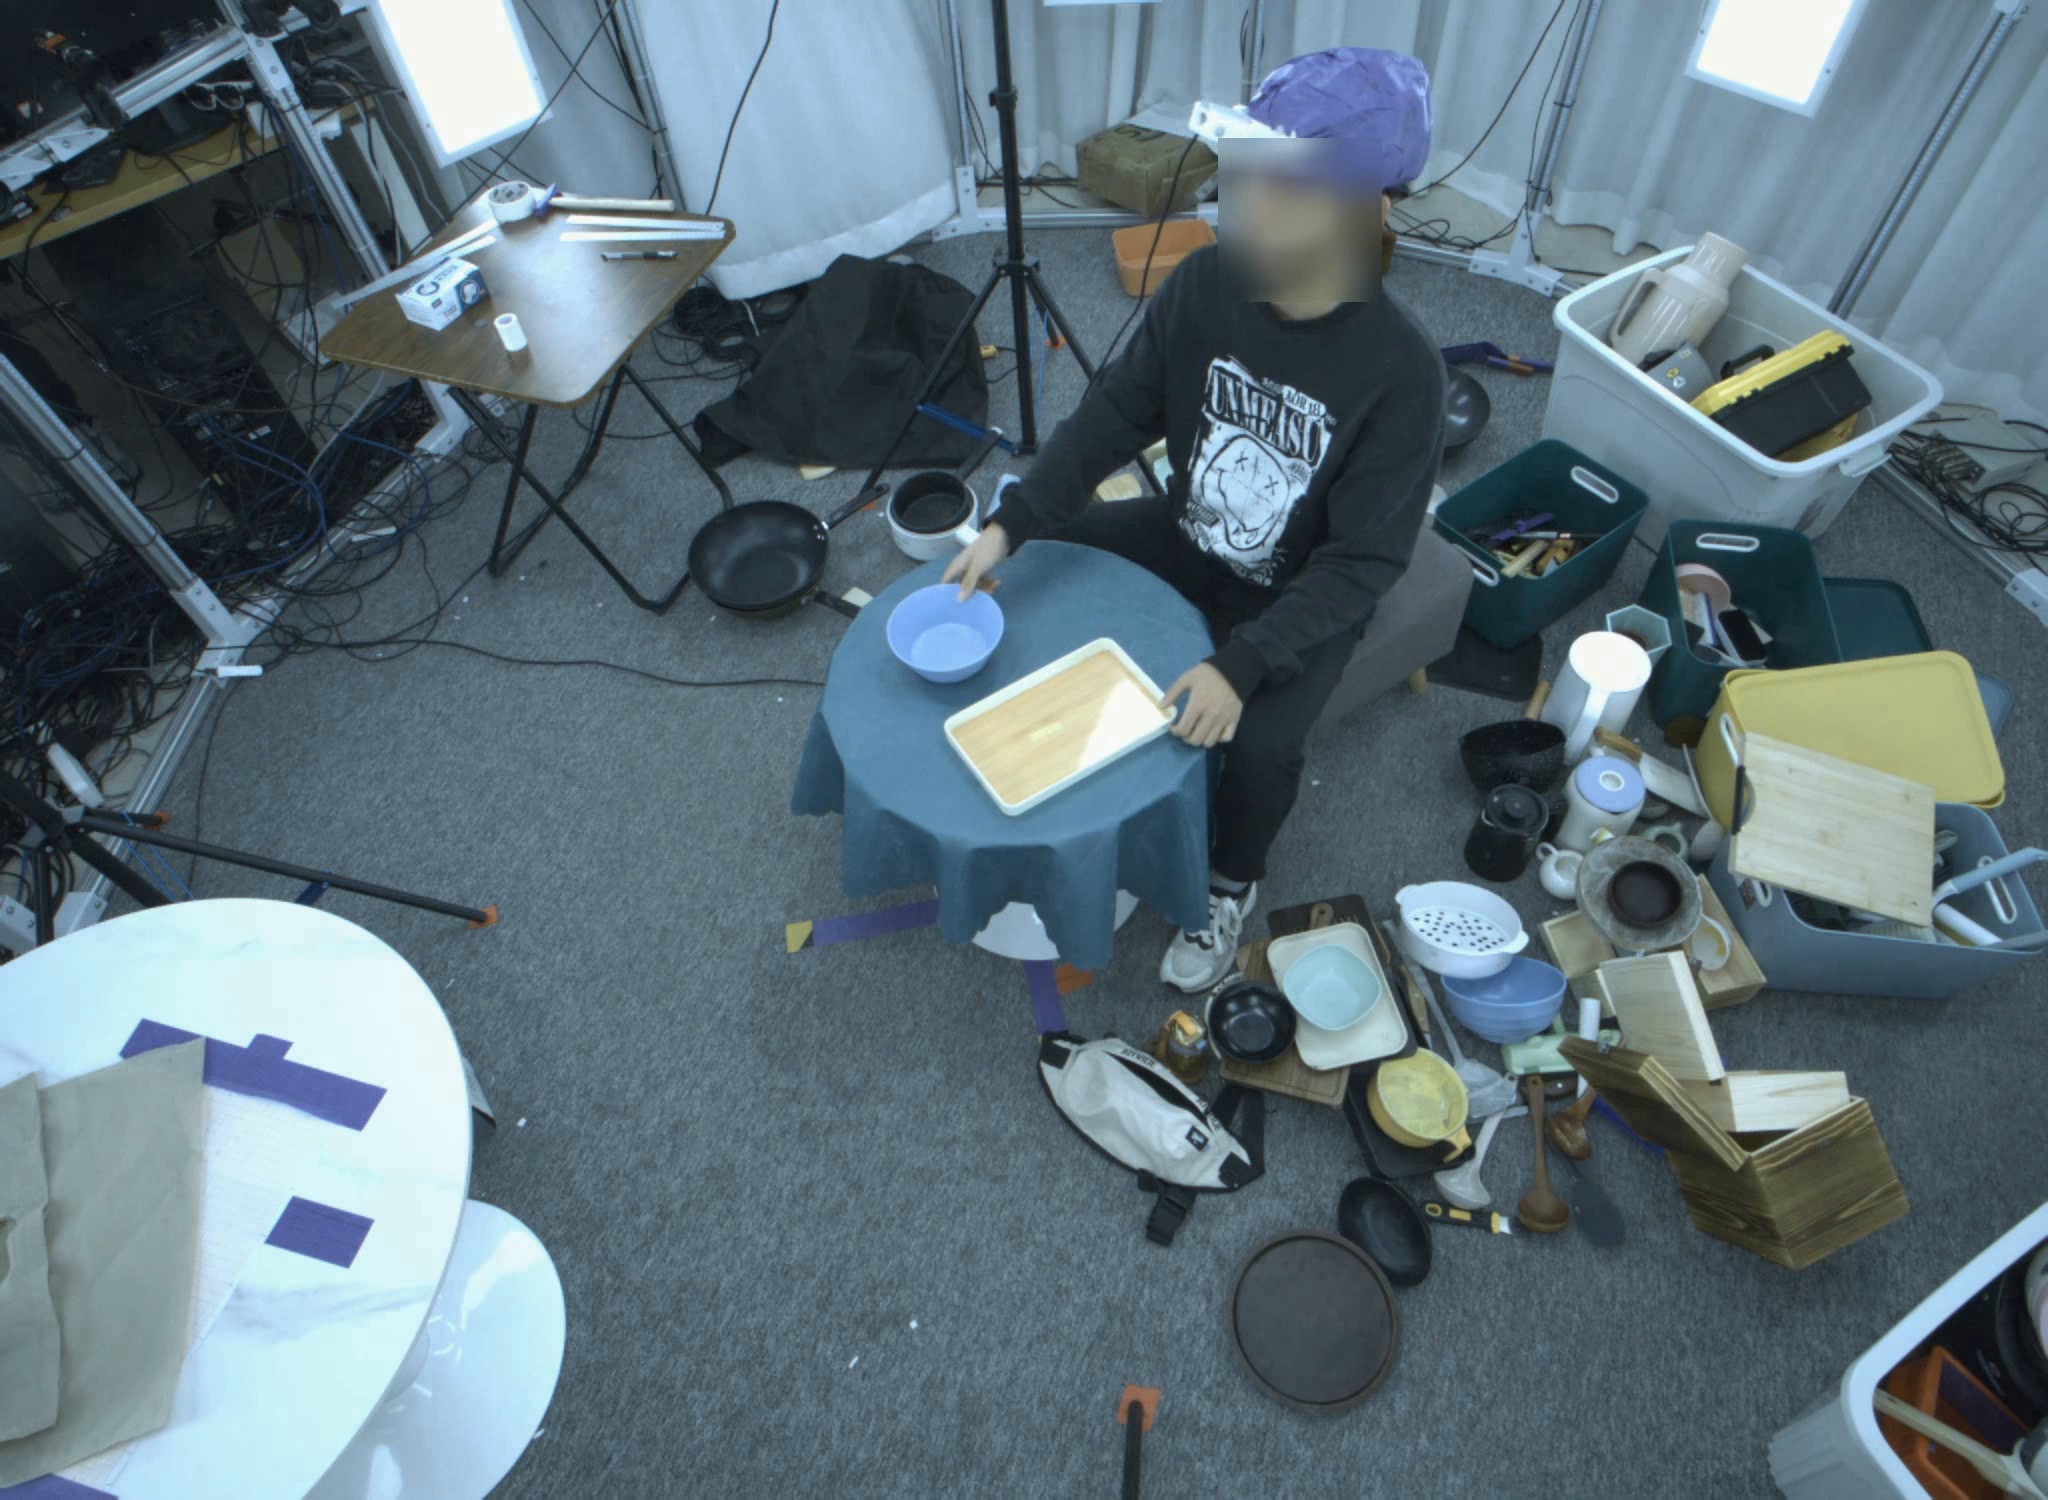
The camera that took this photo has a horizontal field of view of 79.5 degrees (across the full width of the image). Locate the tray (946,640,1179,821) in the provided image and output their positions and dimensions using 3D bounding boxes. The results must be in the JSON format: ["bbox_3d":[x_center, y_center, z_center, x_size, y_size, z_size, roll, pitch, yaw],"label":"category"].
[{"bbox_3d":[0.057,-0.033,1.803,0.302,0.028,0.188,-29,60,-17],"label":"tray"}]

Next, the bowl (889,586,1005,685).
[{"bbox_3d":[-0.115,-0.165,1.873,0.176,0.071,0.174,0,56,2],"label":"bowl"}]
